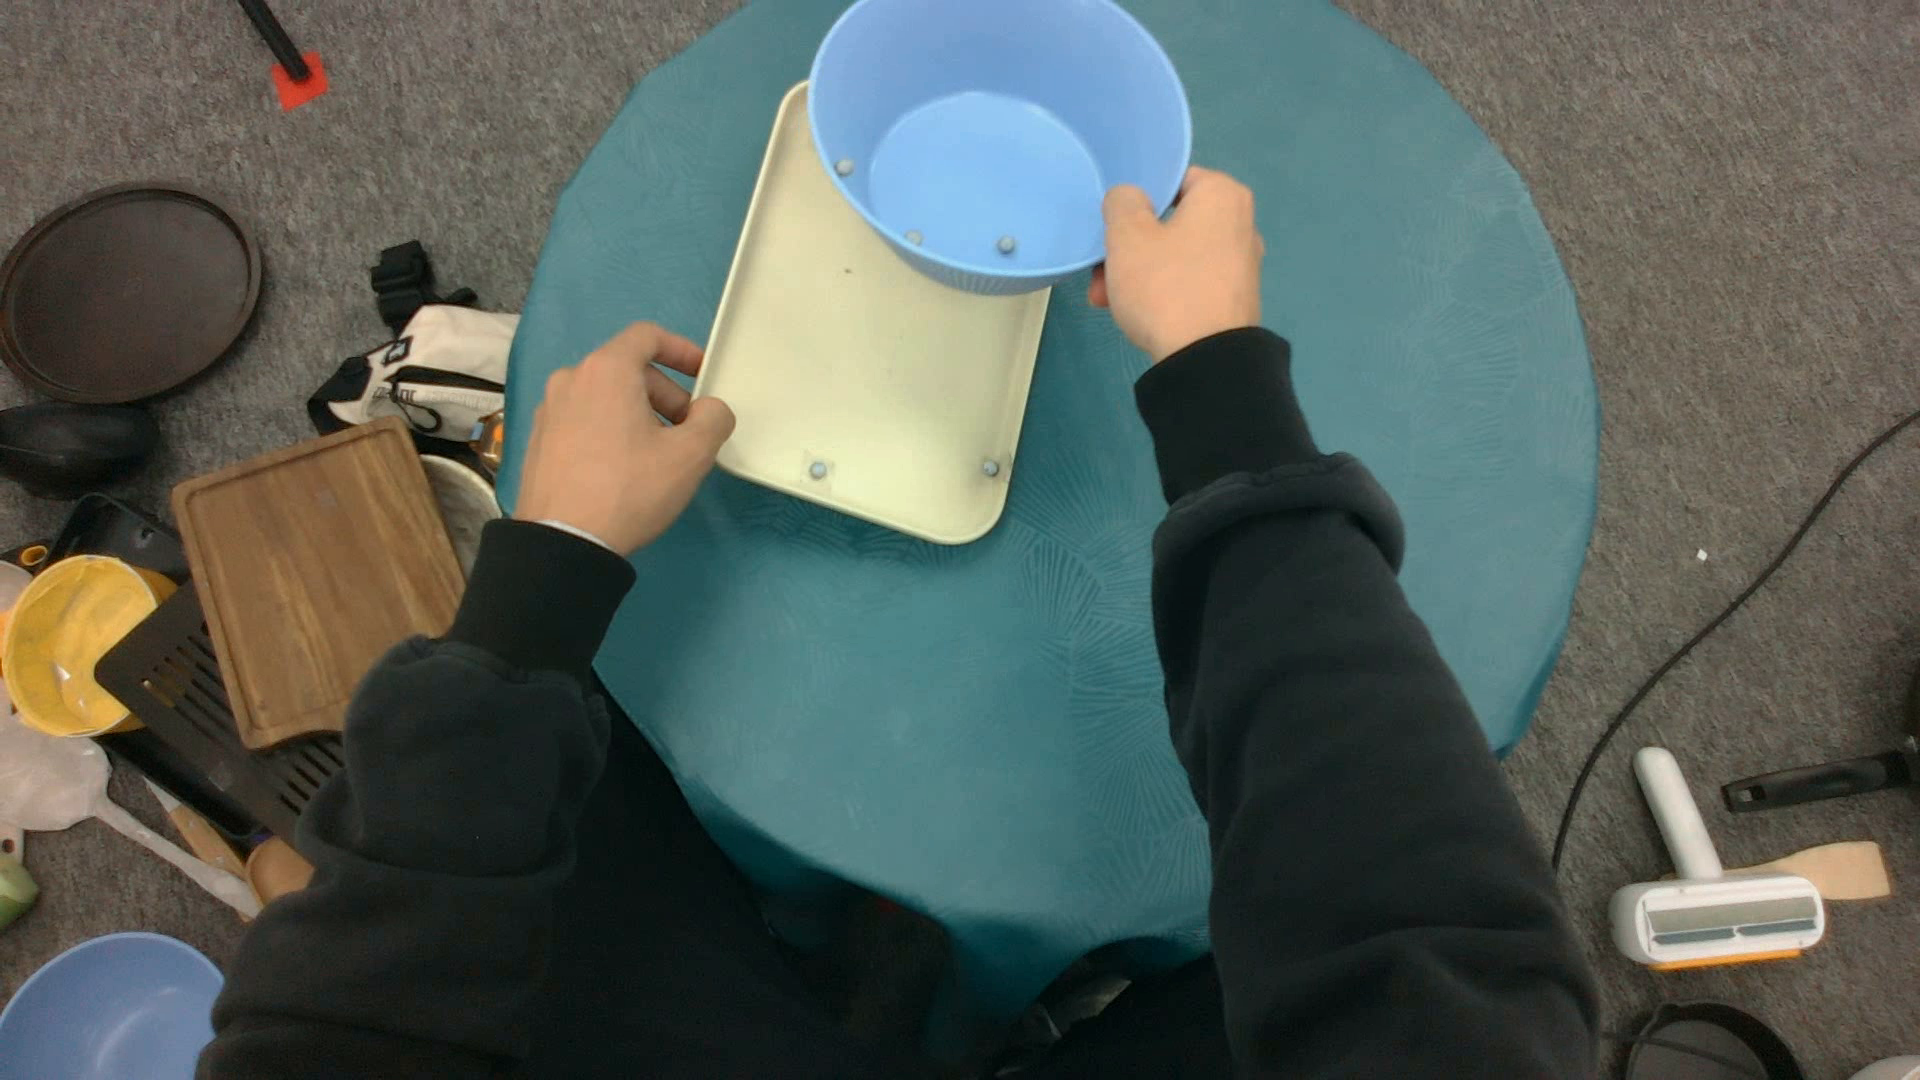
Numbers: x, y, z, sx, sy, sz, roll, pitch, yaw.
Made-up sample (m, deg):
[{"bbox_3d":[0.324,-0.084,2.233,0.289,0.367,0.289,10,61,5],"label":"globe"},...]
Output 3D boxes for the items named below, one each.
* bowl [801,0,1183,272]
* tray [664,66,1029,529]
[{"bbox_3d":[0.013,-0.195,0.656,0.176,0.070,0.176,2,69,-5],"label":"bowl"},{"bbox_3d":[-0.052,-0.131,0.734,0.171,0.017,0.240,18,68,-15],"label":"tray"}]
